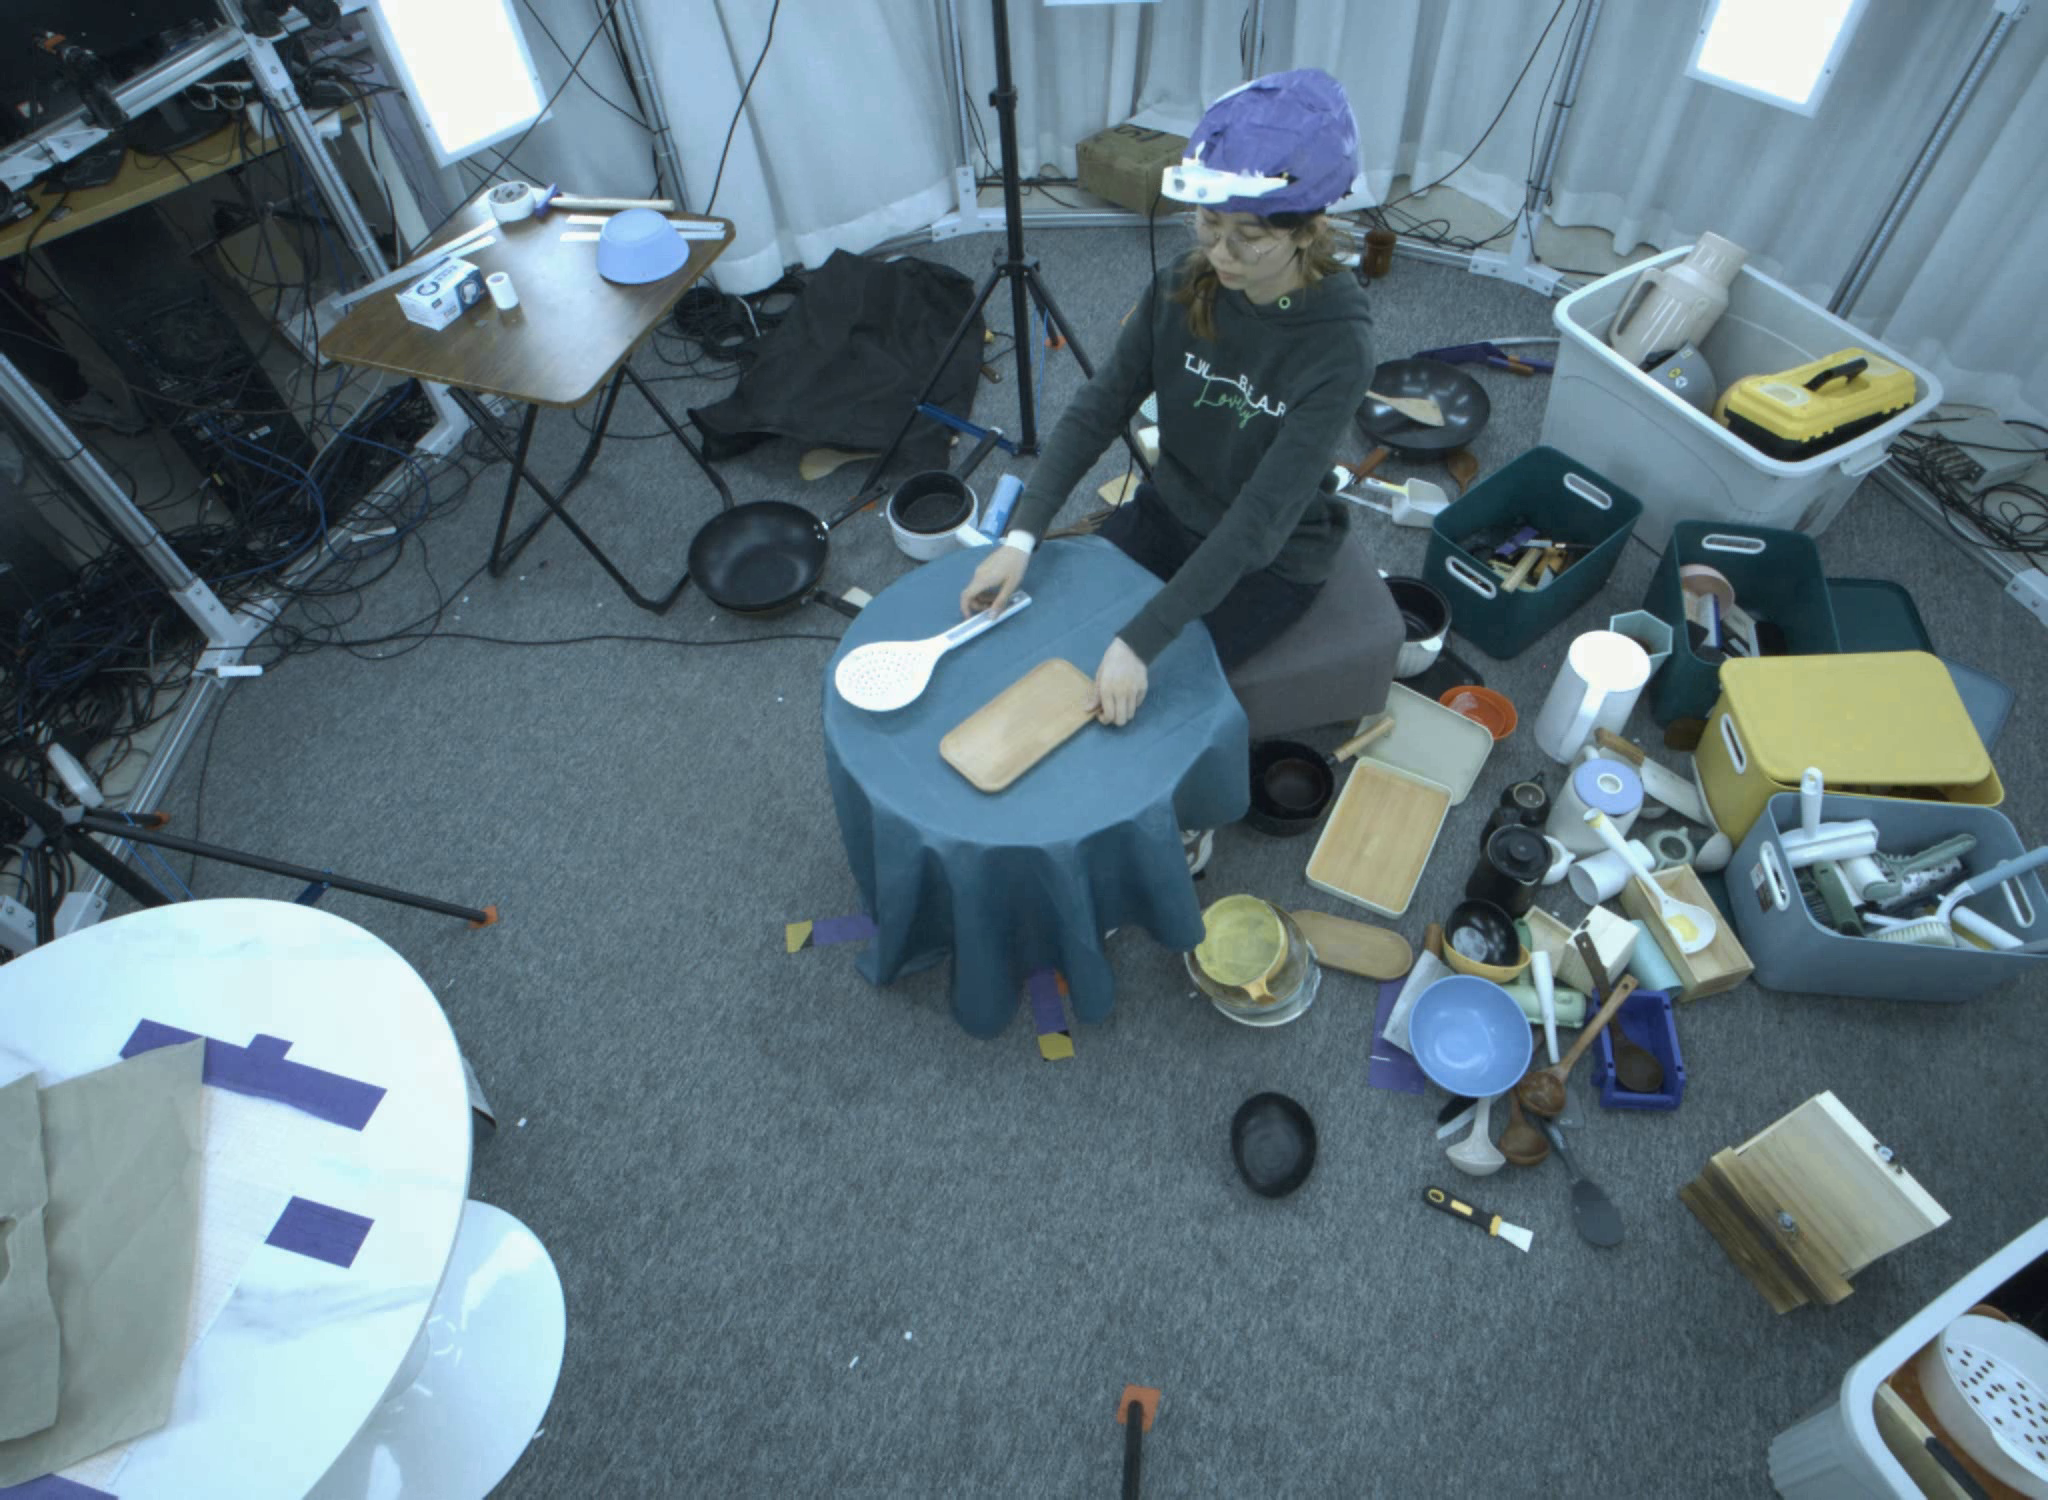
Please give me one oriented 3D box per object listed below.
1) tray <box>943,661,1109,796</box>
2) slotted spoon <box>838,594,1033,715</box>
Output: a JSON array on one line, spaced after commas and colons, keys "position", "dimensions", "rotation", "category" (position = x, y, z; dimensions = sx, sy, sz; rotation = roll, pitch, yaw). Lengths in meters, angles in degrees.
[{"position": [0.004, -0.034, 1.811], "dimensions": [0.252, 0.023, 0.128], "rotation": [-38, 64, -23], "category": "tray"}, {"position": [-0.128, -0.155, 1.883], "dimensions": [0.352, 0.046, 0.133], "rotation": [-35, 63, -21], "category": "slotted spoon"}]
